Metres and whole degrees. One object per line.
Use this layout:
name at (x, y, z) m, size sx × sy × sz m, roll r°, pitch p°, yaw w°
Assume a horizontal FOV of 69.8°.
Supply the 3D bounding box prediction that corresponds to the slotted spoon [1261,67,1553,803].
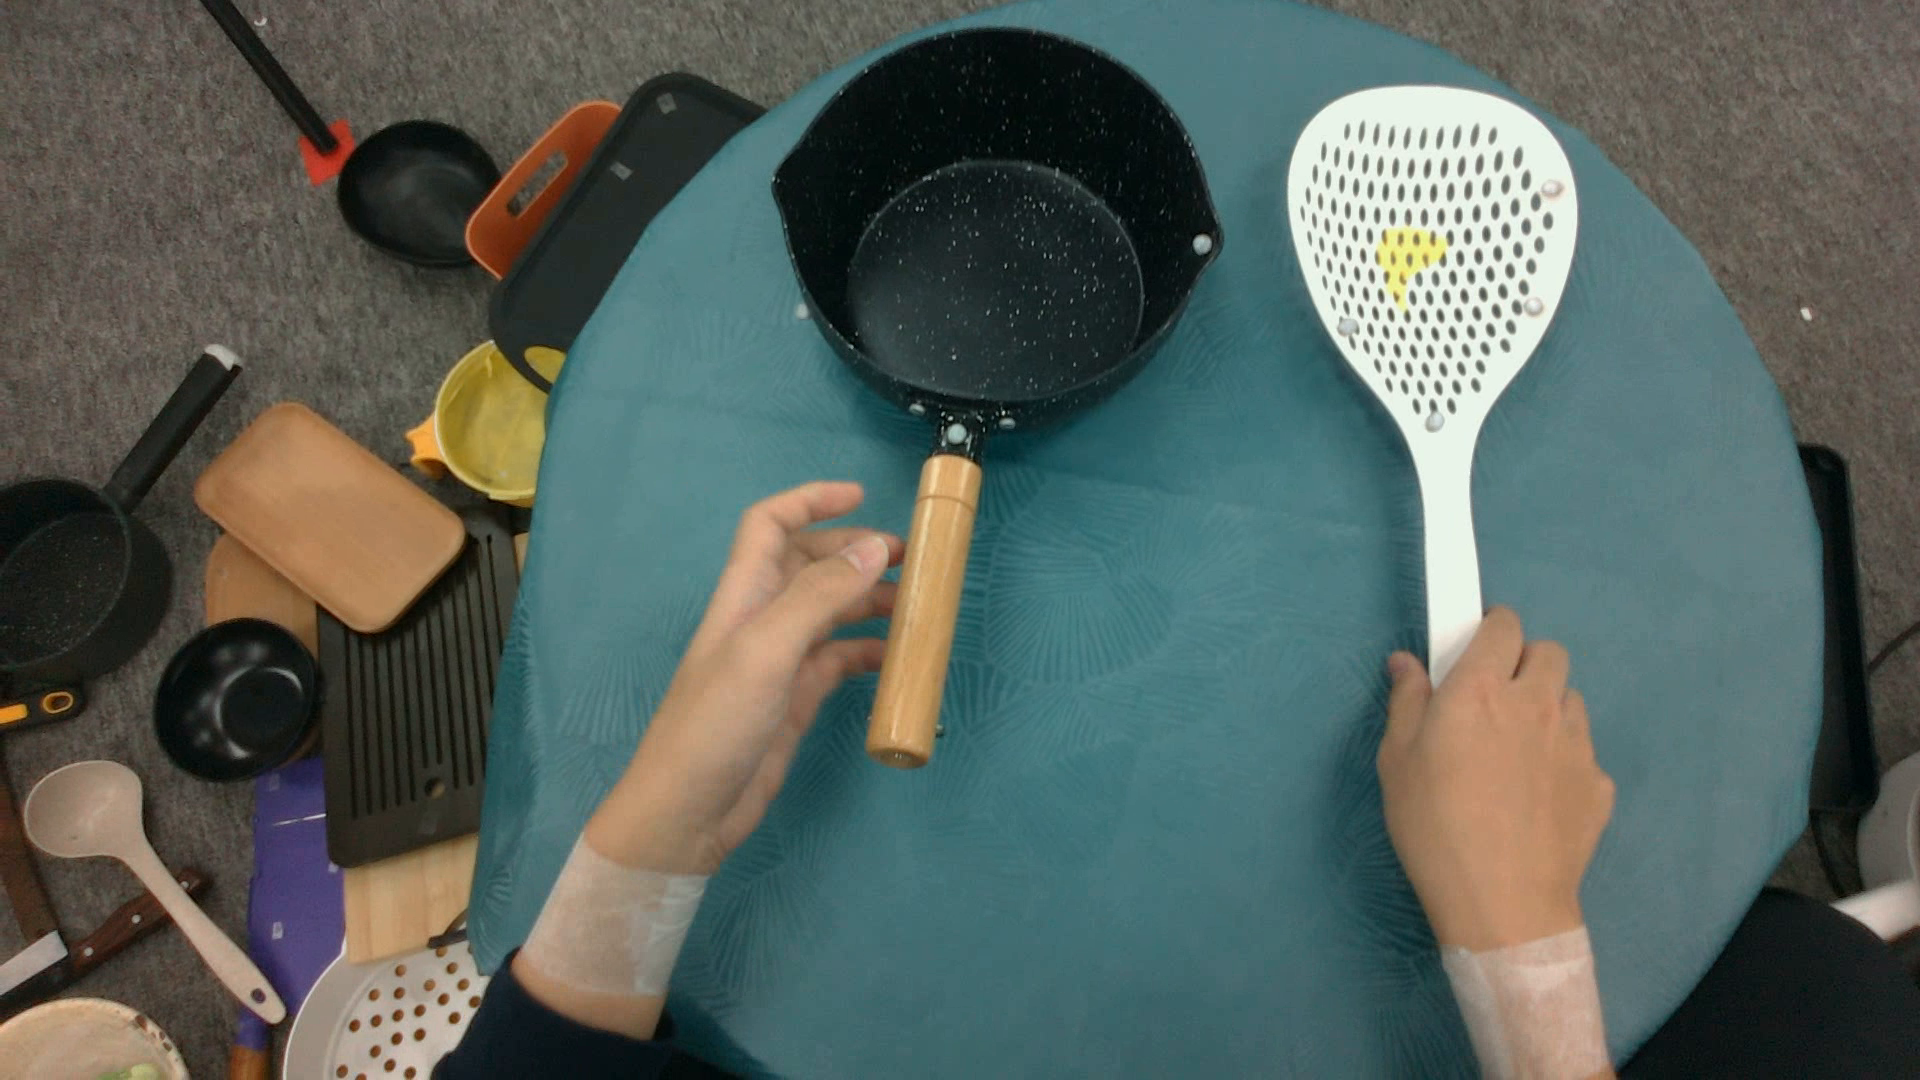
slotted spoon at (0.212, -0.058, 0.632) m, size 0.137 × 0.050 × 0.349 m, roll 0°, pitch 71°, yaw 0°

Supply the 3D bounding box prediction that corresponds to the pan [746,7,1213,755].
pan at (-0.002, -0.069, 0.605) m, size 0.207 × 0.108 × 0.344 m, roll 8°, pitch 72°, yaw 1°
